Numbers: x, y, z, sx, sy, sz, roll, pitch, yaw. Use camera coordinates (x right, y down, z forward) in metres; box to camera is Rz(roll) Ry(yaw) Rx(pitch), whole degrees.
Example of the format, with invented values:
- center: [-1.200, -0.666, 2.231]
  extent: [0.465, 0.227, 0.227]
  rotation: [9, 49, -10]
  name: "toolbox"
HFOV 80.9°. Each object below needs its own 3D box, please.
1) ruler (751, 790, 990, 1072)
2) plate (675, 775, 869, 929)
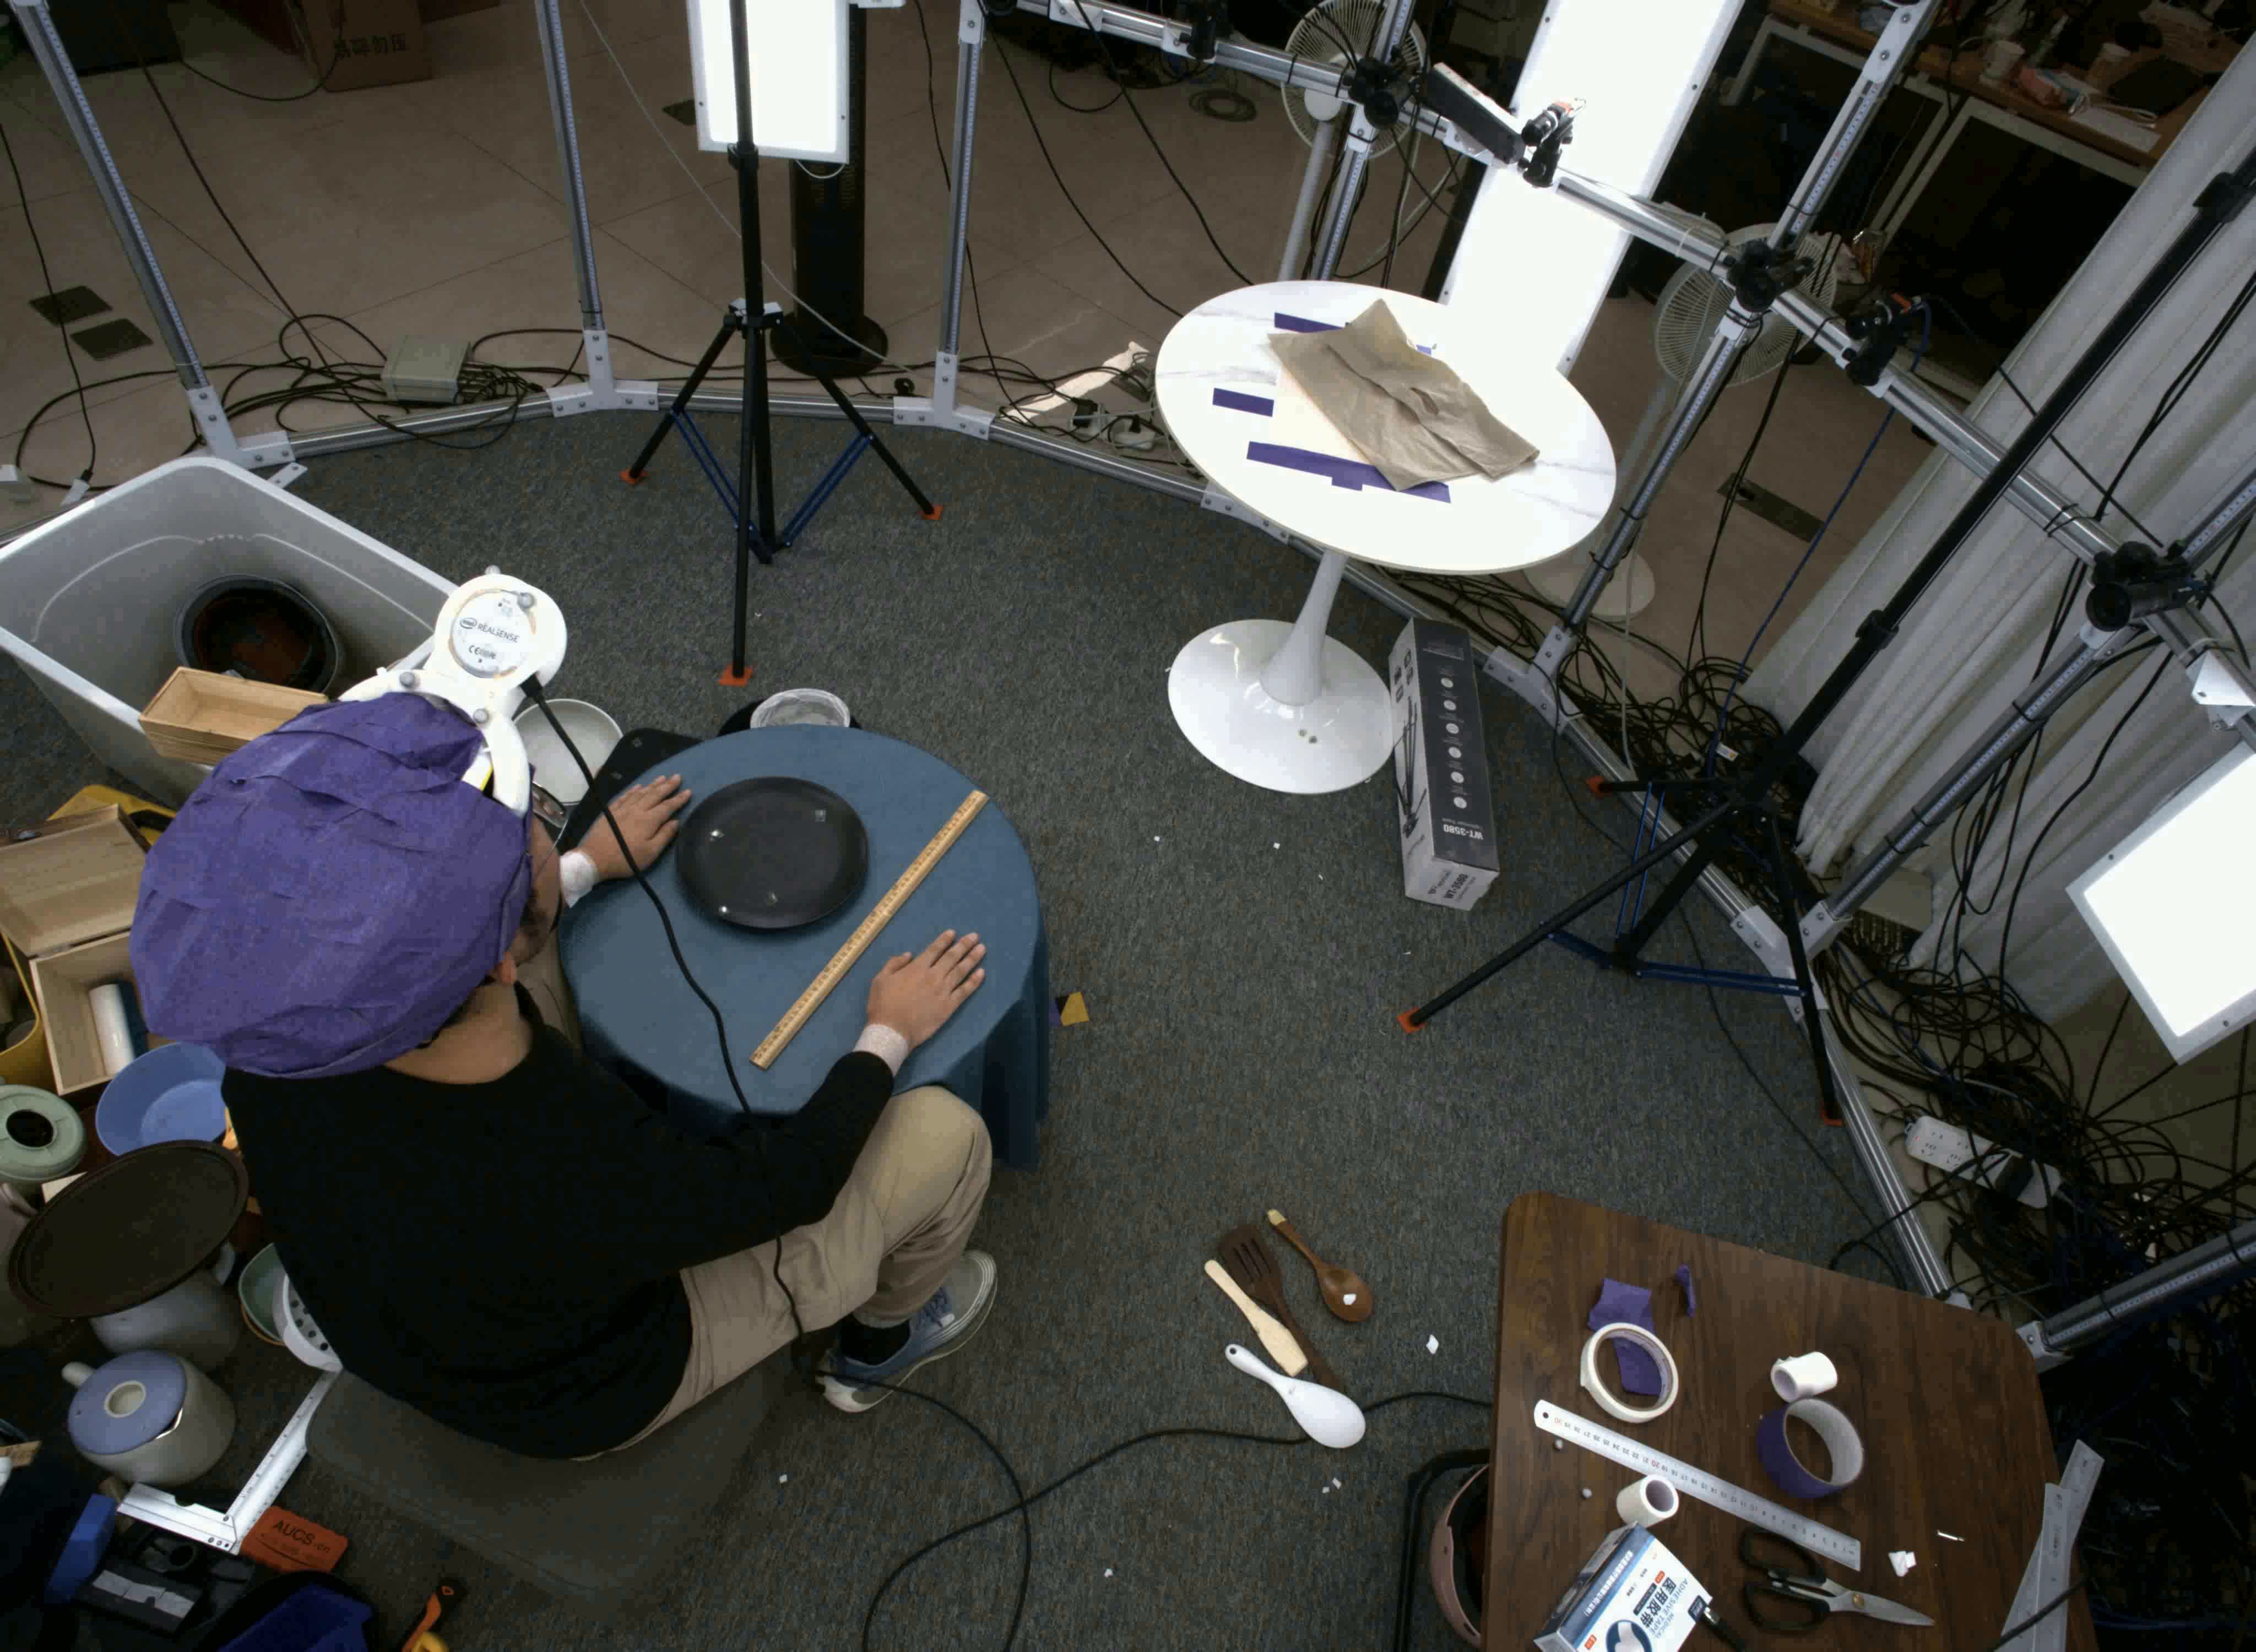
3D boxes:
- center: [-0.317, 0.115, 1.658]
  extent: [0.026, 0.006, 0.498]
  rotation: [28, 52, 10]
  name: "ruler"
- center: [-0.458, 0.034, 1.669]
  extent: [0.244, 0.024, 0.240]
  rotation: [8, 53, -9]
  name: "plate"
